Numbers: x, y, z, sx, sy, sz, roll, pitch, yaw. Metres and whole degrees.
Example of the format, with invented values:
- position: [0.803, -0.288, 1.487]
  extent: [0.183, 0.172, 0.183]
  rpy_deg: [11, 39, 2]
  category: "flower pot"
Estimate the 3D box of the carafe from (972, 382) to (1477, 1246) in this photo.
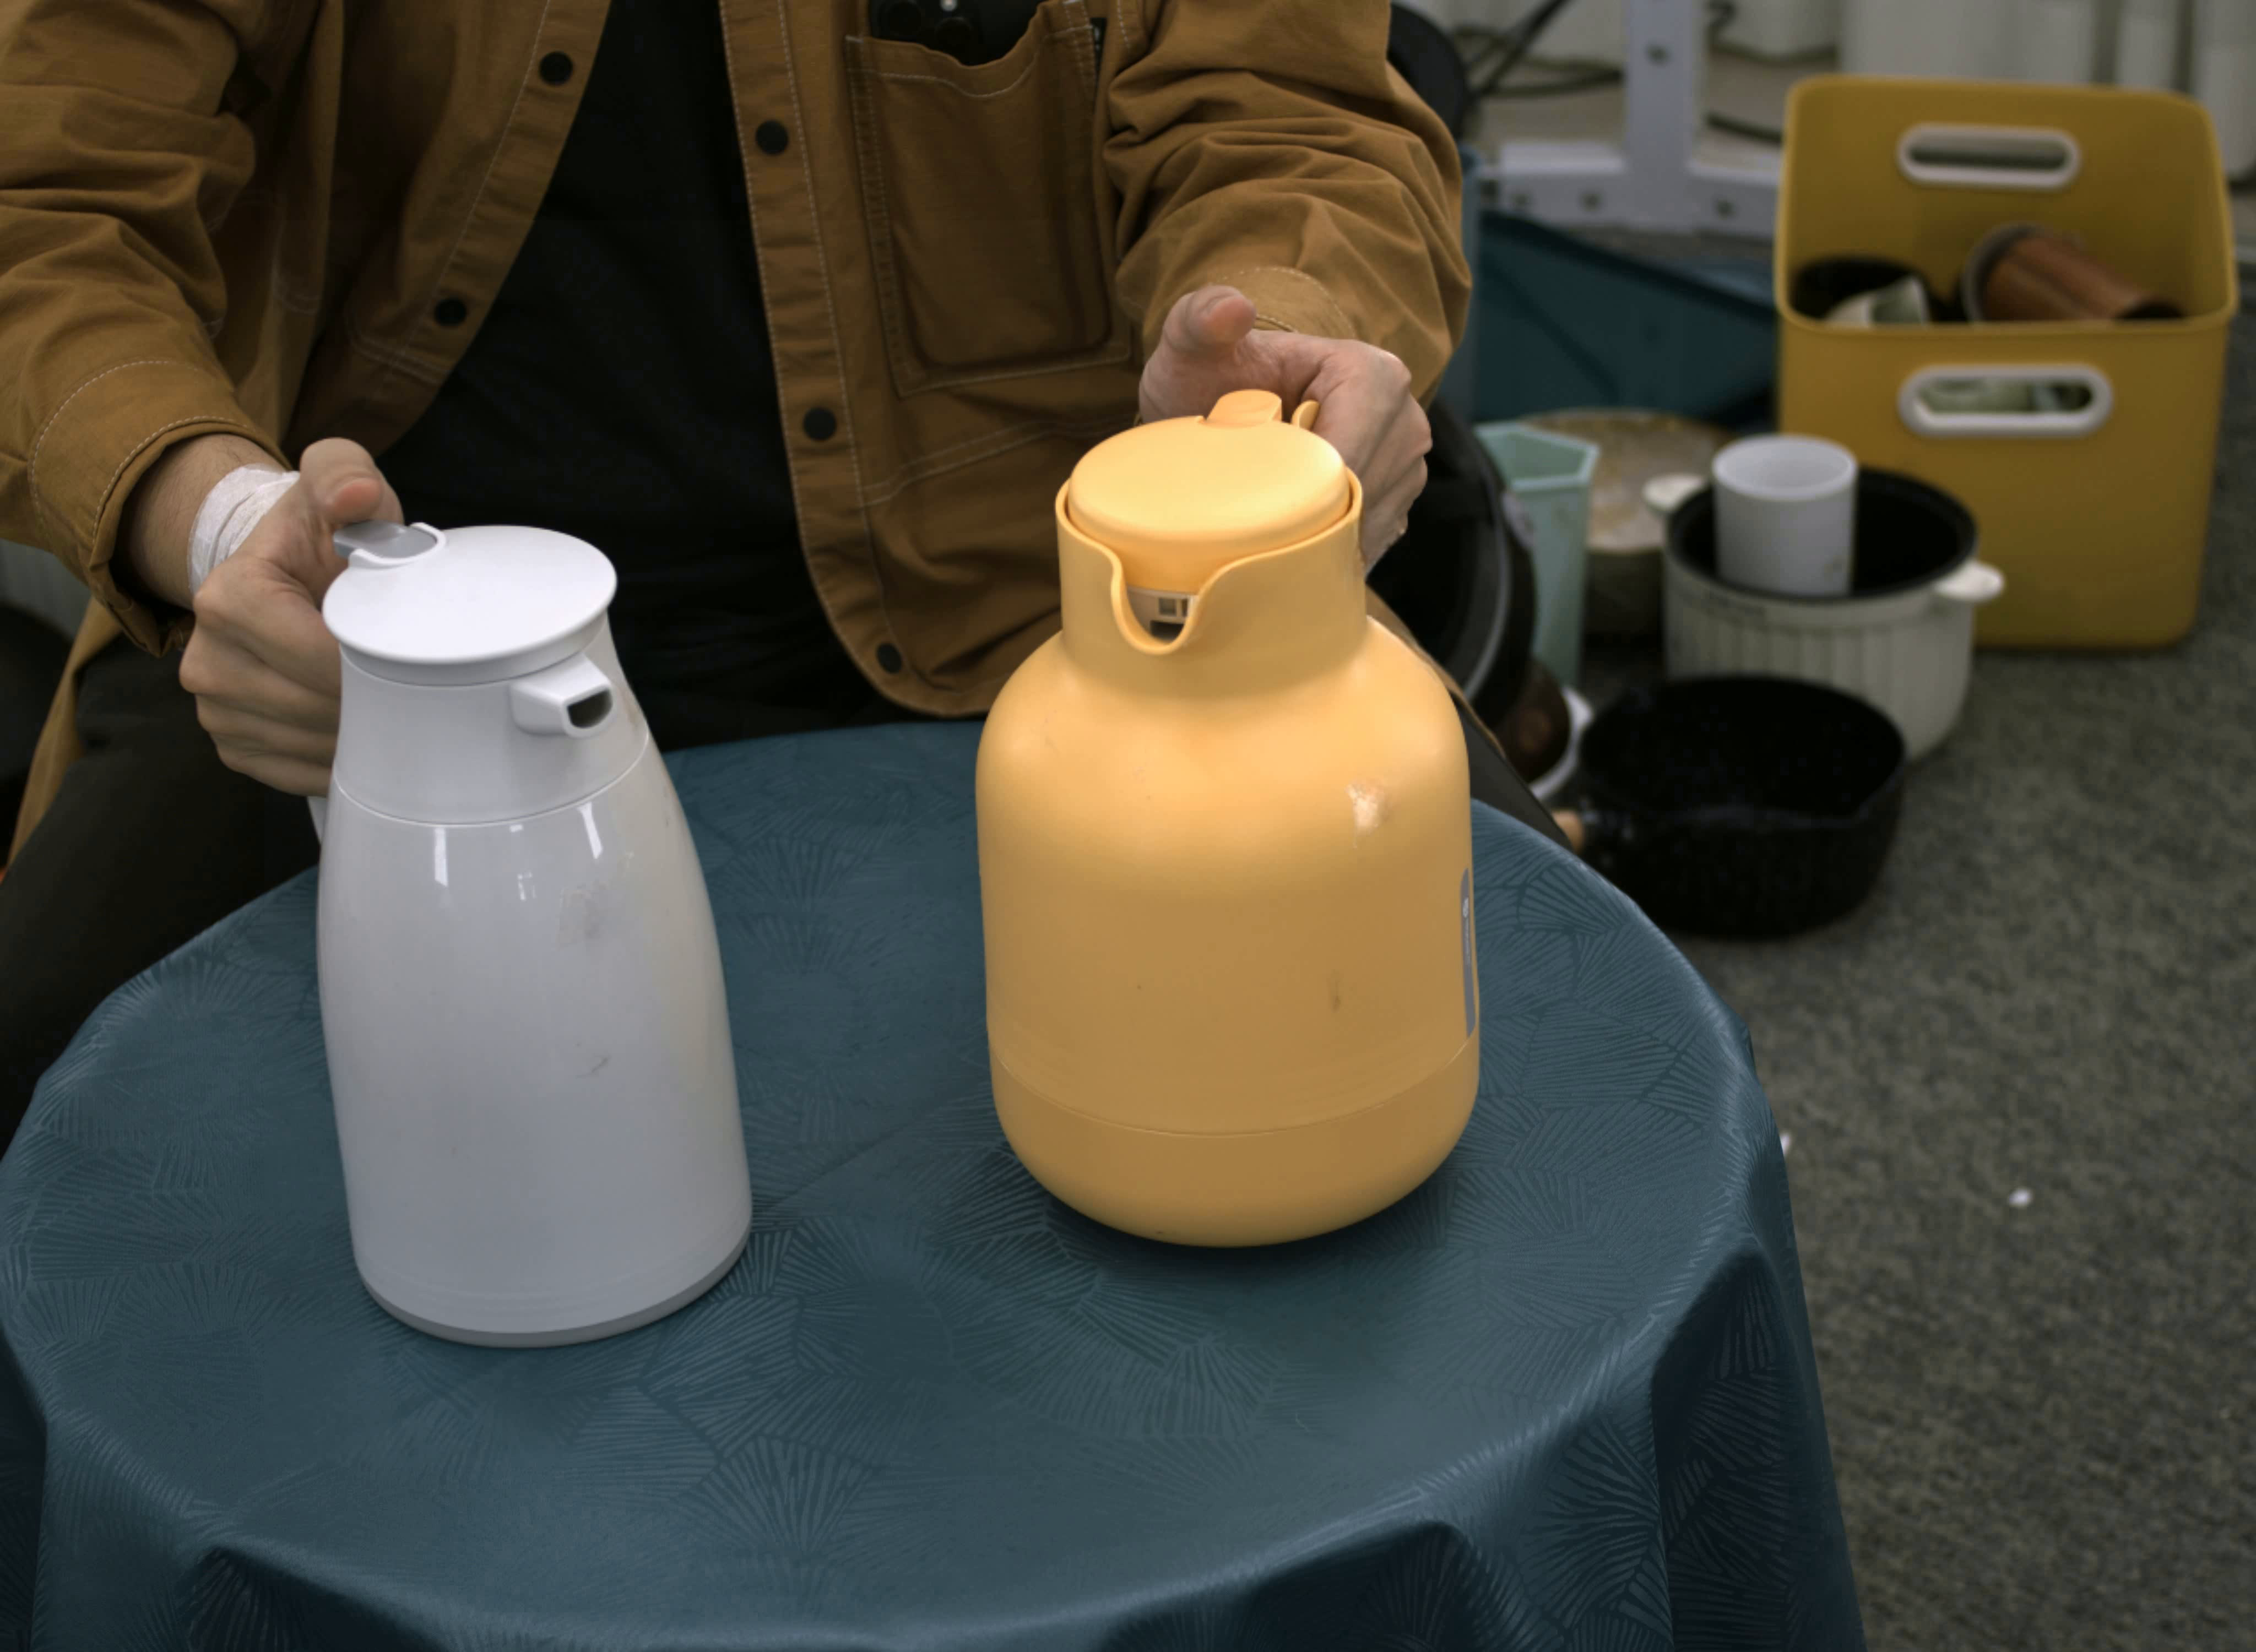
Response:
- position: [0.037, -0.013, 1.835]
  extent: [0.162, 0.257, 0.206]
  rpy_deg: [6, 30, 15]
  category: "carafe"

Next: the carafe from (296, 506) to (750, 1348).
- position: [-0.209, 0.022, 1.802]
  extent: [0.134, 0.246, 0.167]
  rpy_deg: [-25, 33, -34]
  category: "carafe"
